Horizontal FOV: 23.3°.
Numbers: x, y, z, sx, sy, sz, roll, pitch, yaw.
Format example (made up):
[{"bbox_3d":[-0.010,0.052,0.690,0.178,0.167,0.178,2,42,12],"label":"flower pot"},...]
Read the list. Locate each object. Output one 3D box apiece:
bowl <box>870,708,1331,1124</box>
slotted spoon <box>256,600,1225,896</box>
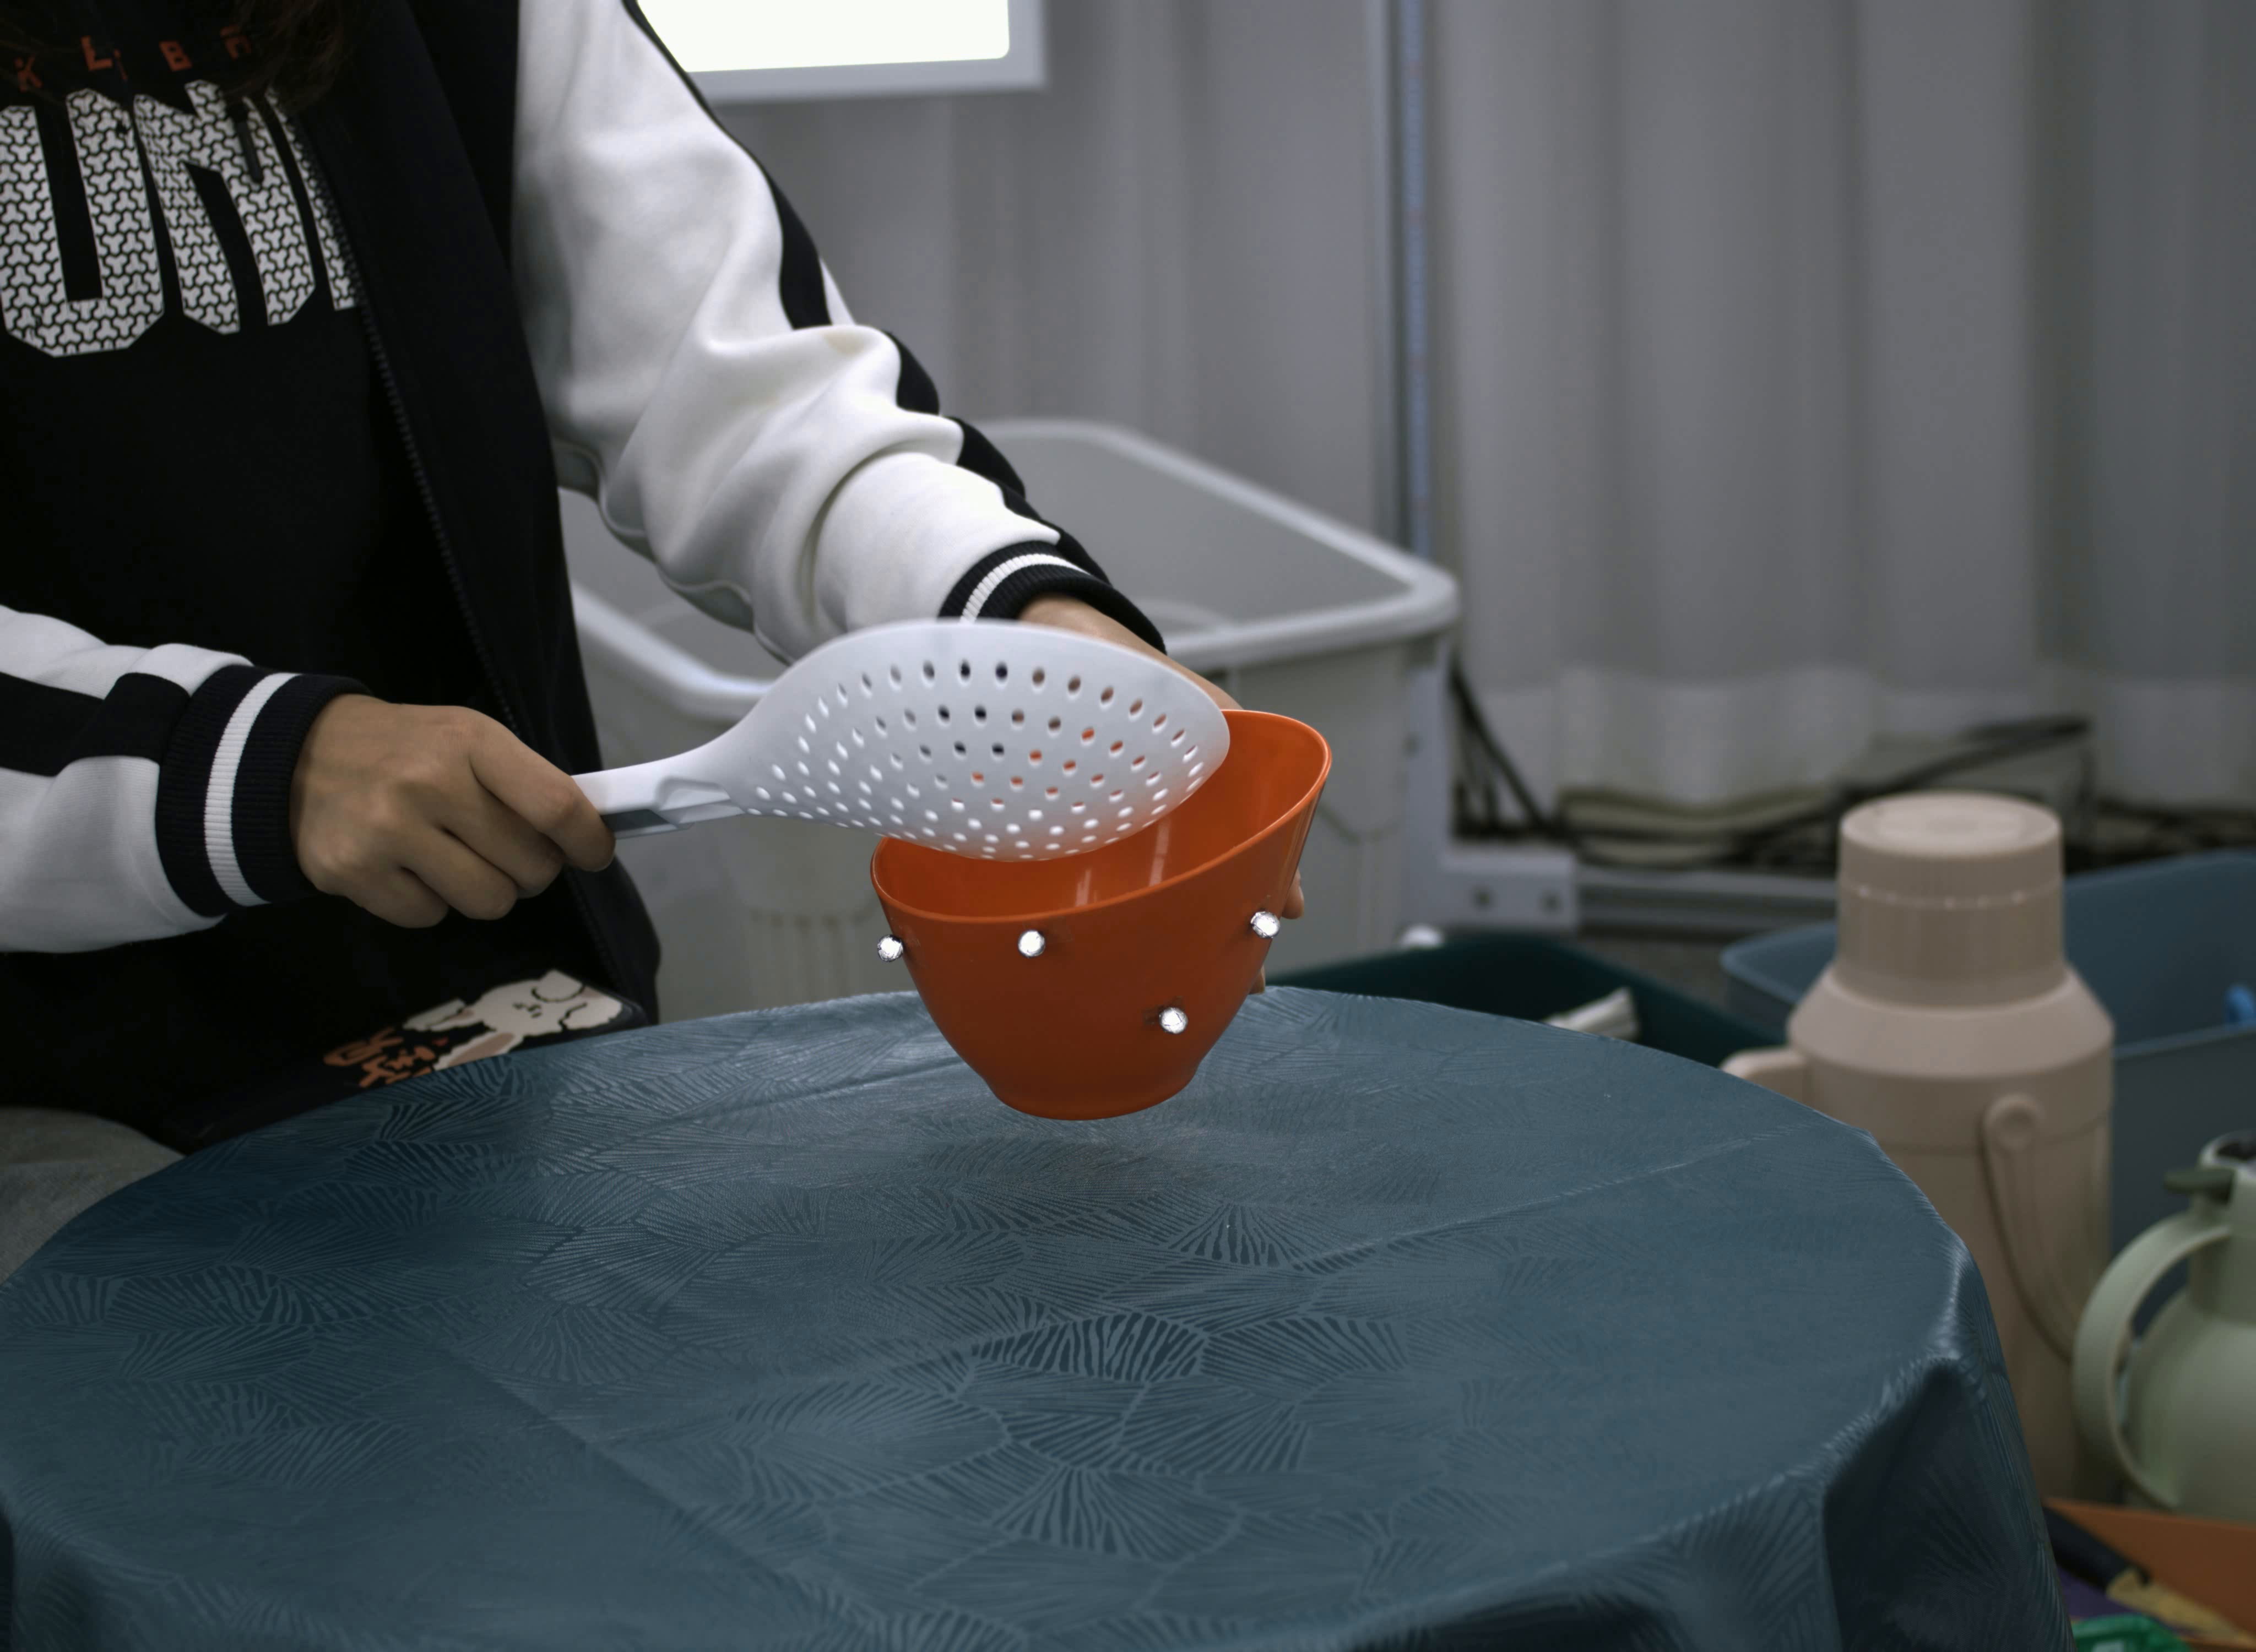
[{"bbox_3d":[-0.005,0.033,1.712,0.147,0.104,0.149,-6,25,3],"label":"bowl"},{"bbox_3d":[-0.131,-0.012,1.708,0.350,0.046,0.134,-5,-29,32],"label":"slotted spoon"}]
